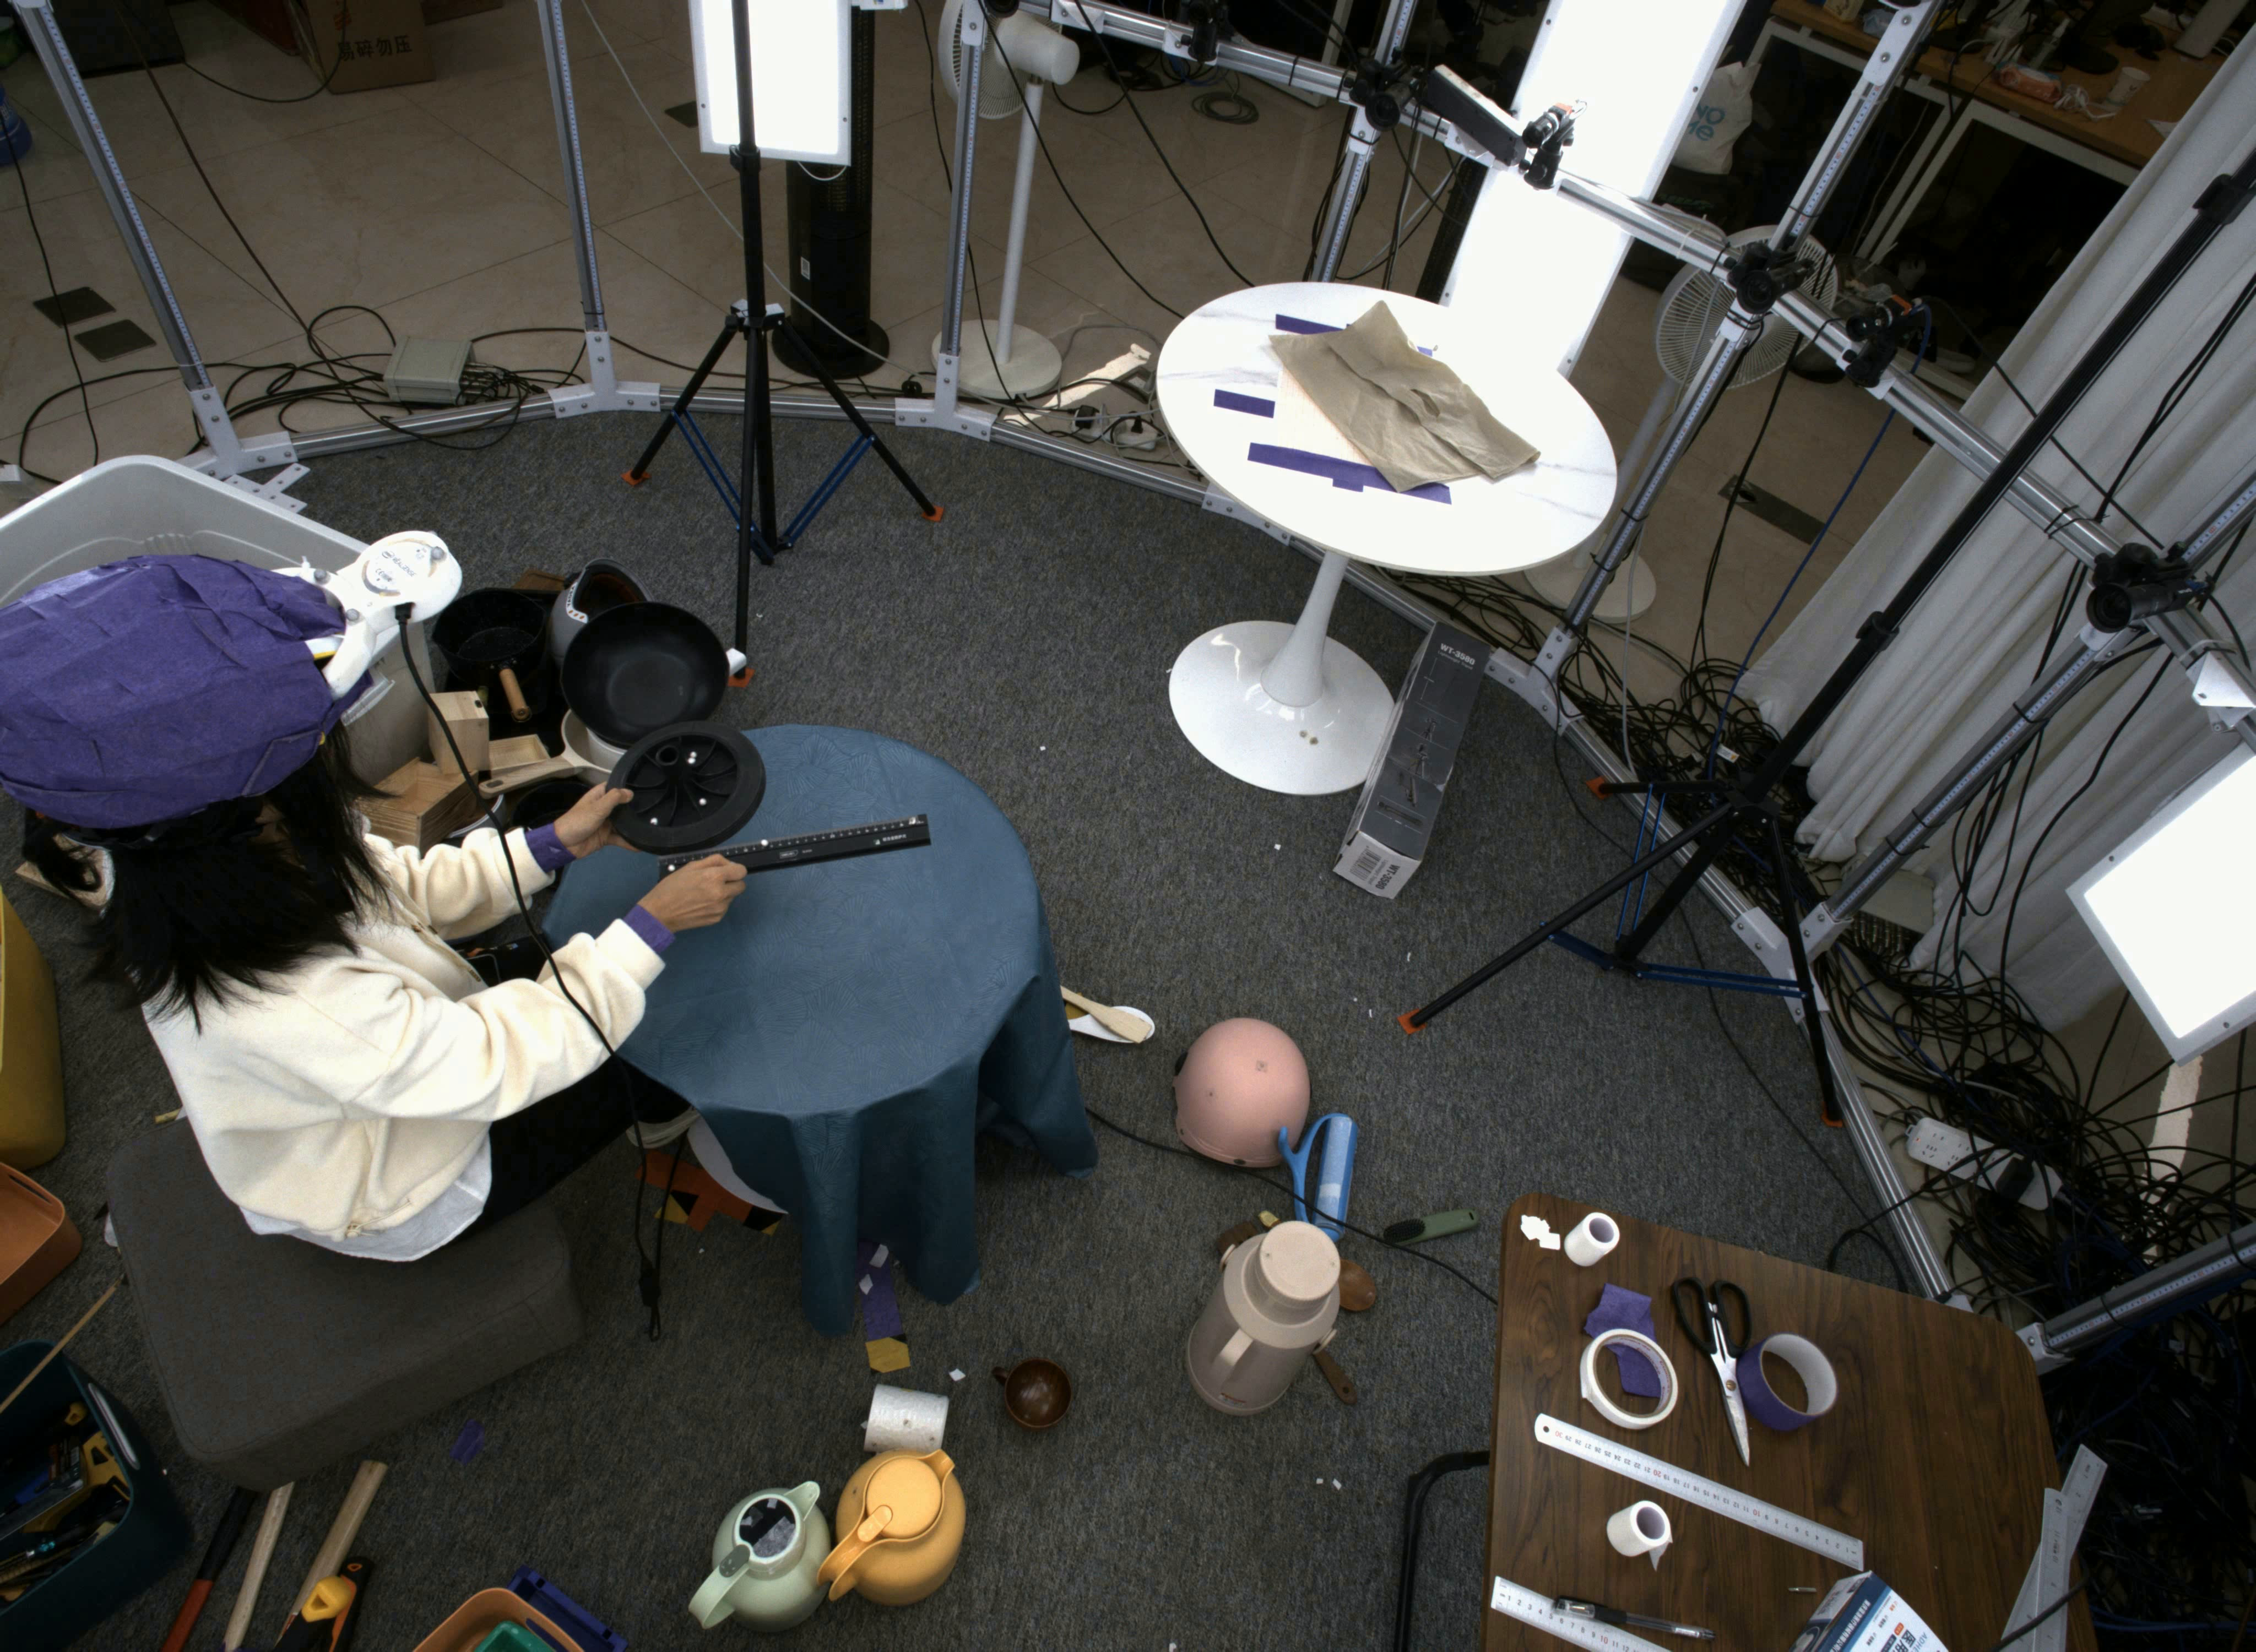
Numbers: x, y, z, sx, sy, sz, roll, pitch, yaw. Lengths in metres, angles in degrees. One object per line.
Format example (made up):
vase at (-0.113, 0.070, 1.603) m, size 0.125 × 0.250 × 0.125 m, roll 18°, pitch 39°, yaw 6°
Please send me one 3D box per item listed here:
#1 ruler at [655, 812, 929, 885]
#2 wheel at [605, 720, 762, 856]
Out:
ruler at (-0.384, 0.022, 1.476) m, size 0.311 × 0.017 × 0.039 m, roll -9°, pitch 79°, yaw -10°
wheel at (-0.525, -0.061, 1.495) m, size 0.185 × 0.081 × 0.187 m, roll 29°, pitch 61°, yaw 19°
